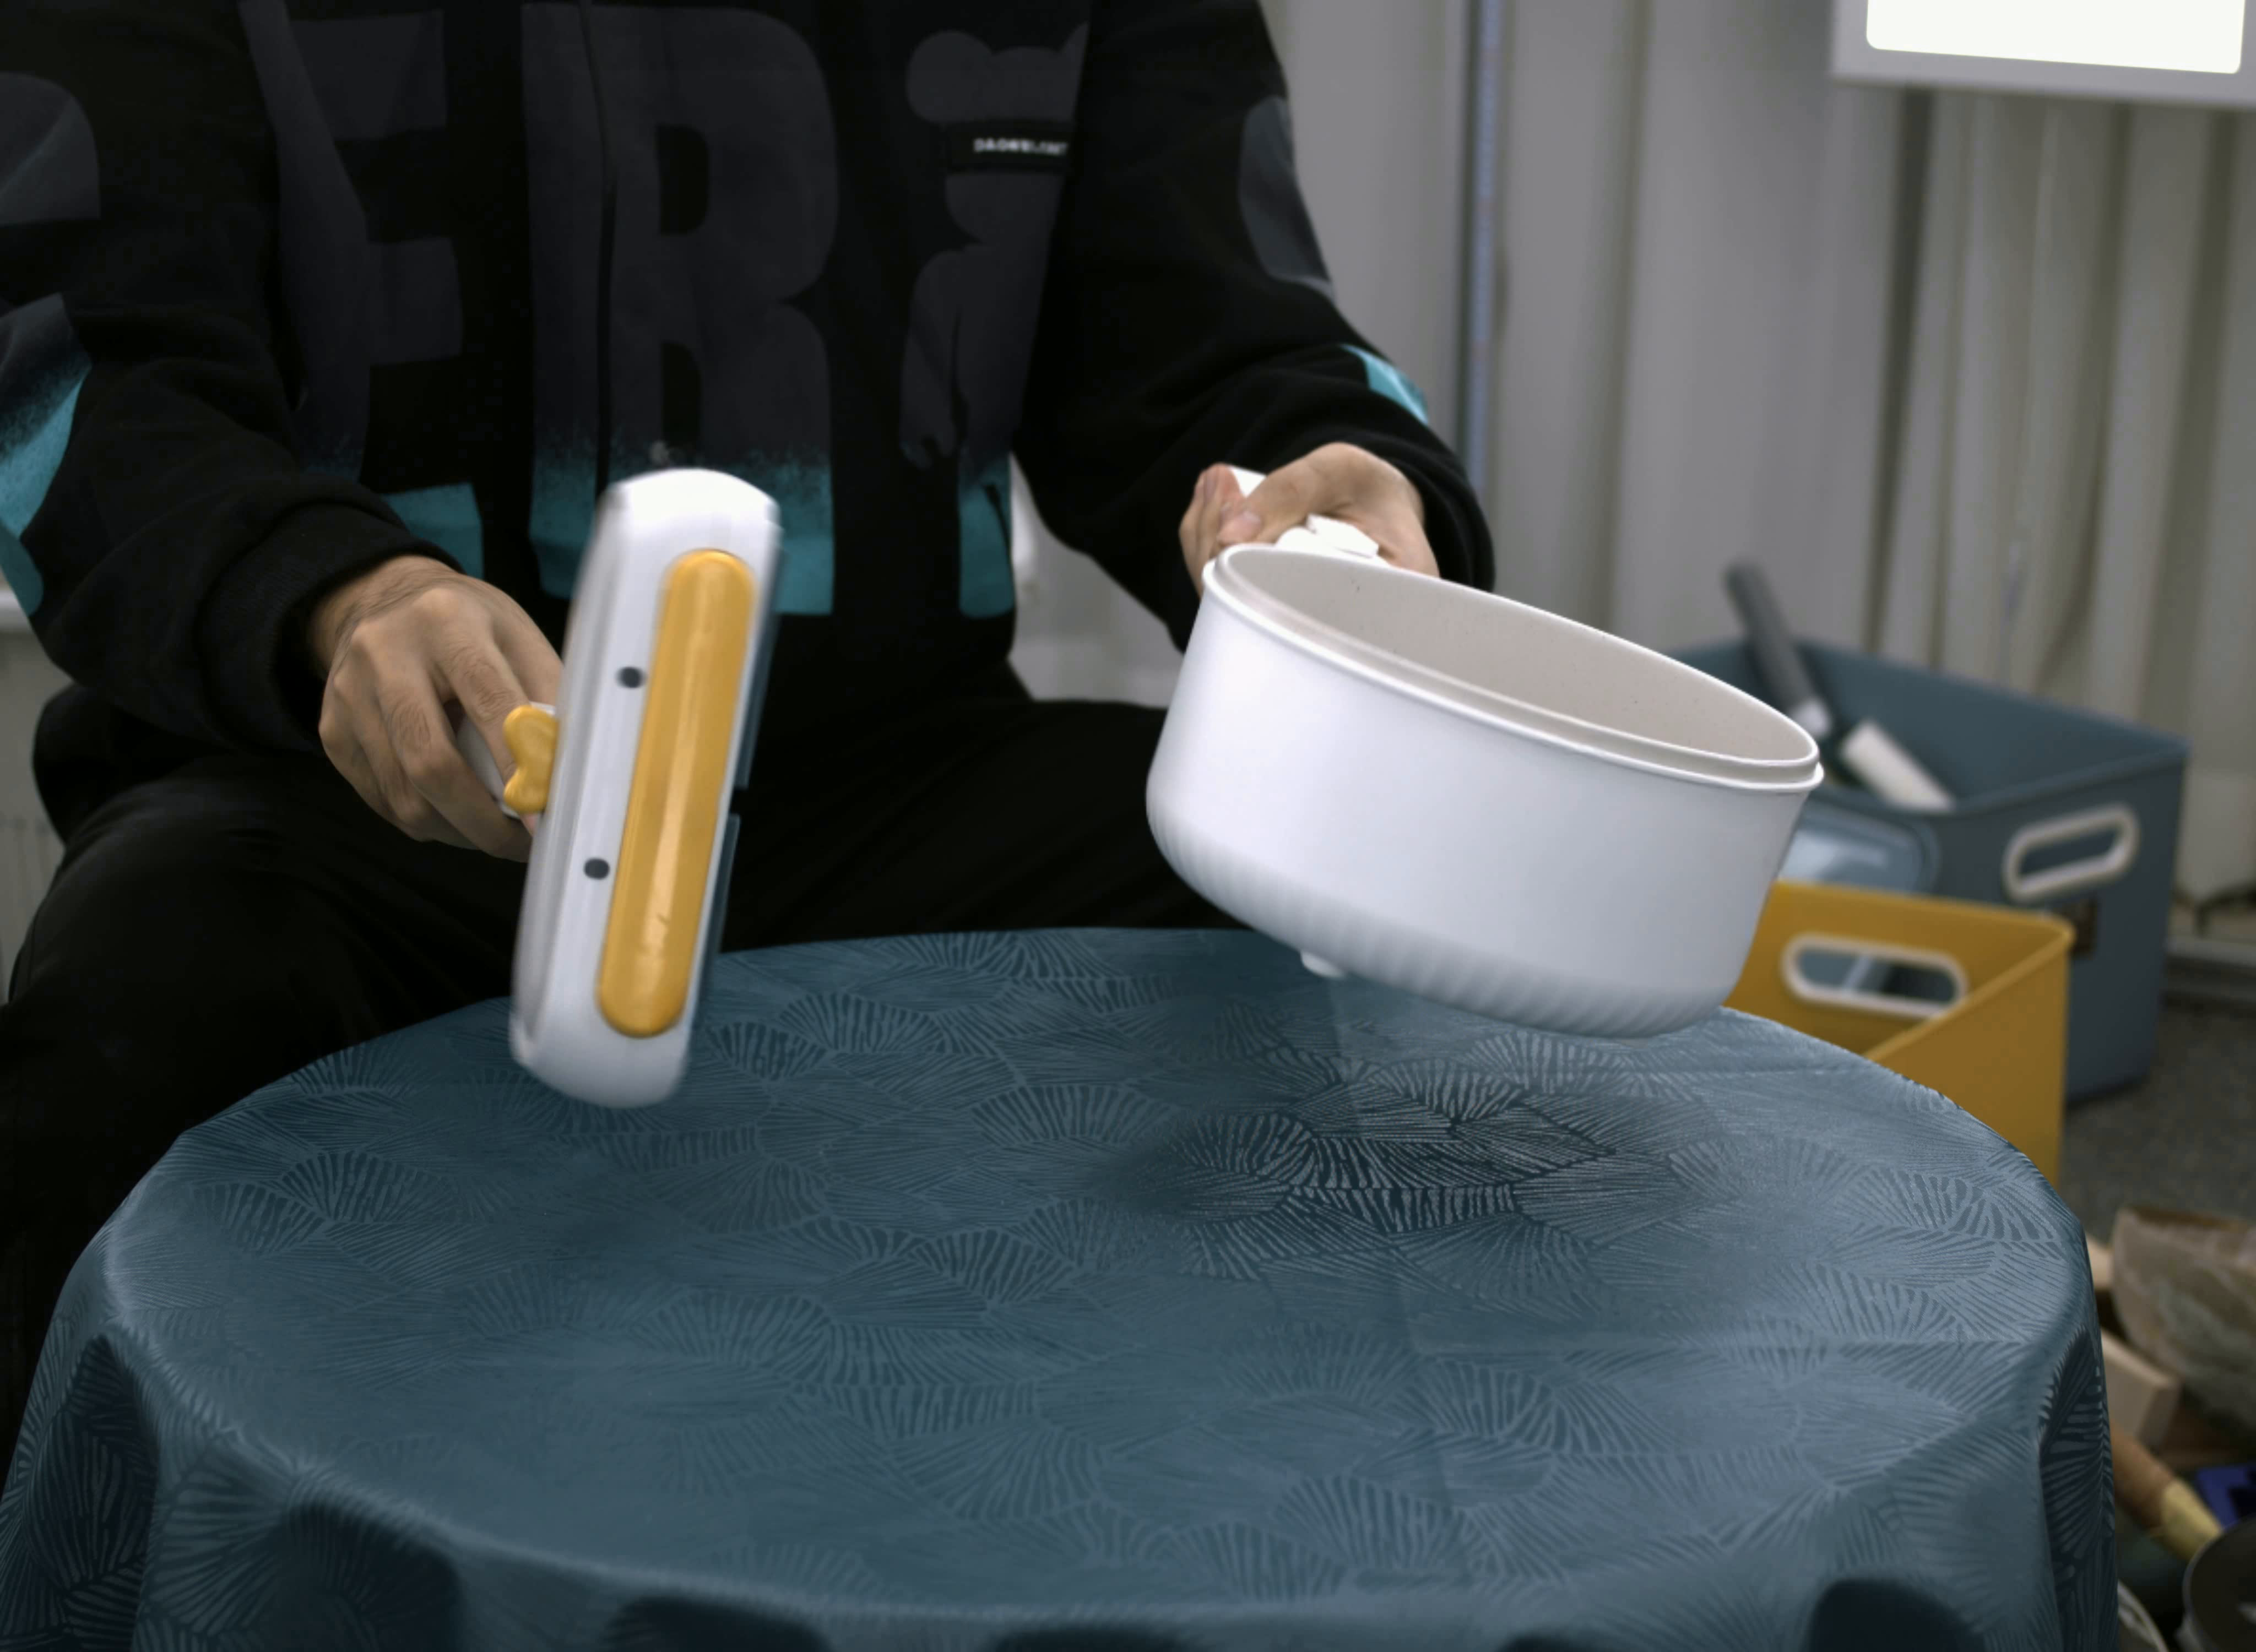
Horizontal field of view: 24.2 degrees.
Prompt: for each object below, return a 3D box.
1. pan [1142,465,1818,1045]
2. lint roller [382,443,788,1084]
[{"bbox_3d":[0.081,-0.031,1.698,0.202,0.102,0.351,14,12,-22],"label":"pan"},{"bbox_3d":[-0.174,-0.020,1.616,0.074,0.193,0.191,9,-3,-25],"label":"lint roller"}]
